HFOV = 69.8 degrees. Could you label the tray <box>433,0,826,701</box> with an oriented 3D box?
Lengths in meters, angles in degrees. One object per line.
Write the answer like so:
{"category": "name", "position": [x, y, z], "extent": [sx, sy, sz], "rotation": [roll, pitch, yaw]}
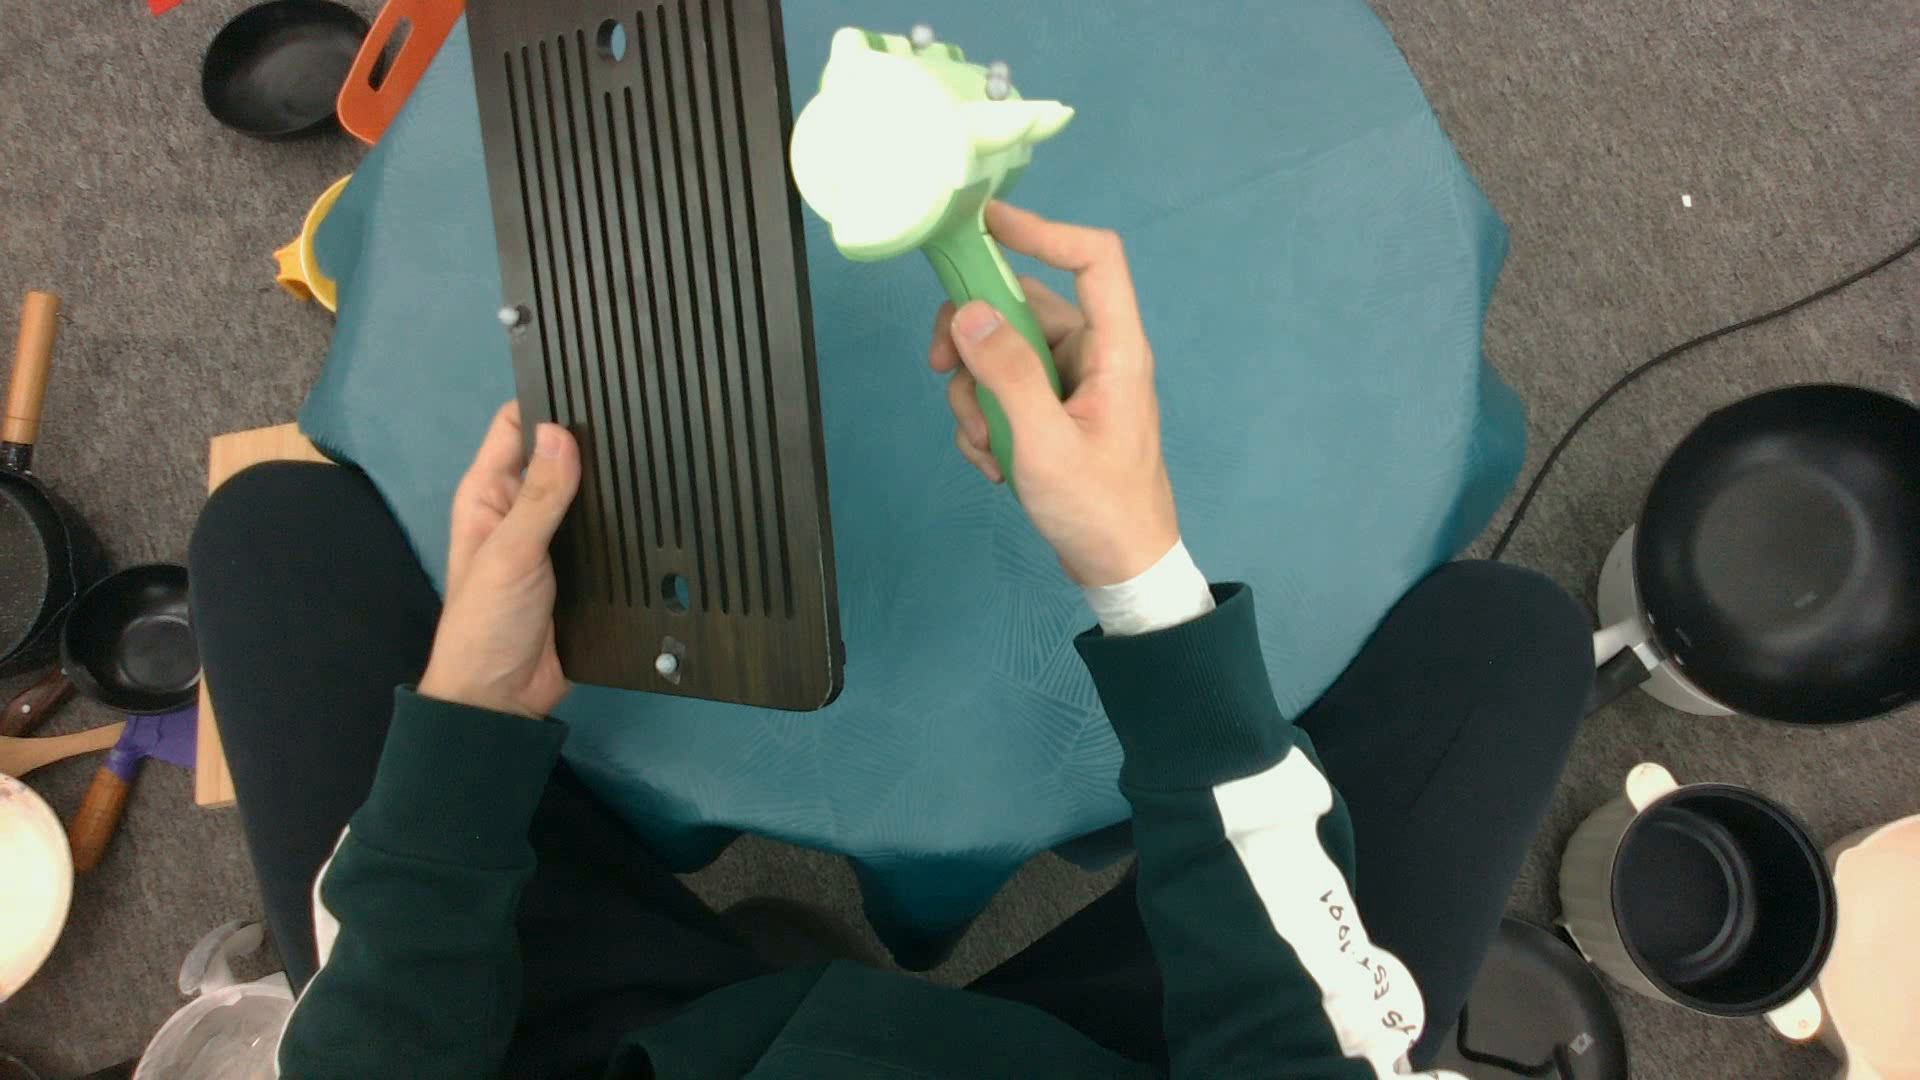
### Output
{"category": "tray", "position": [-0.133, -0.089, 0.554], "extent": [0.169, 0.019, 0.305], "rotation": [0, 100, 35]}

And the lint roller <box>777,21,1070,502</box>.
{"category": "lint roller", "position": [0.015, -0.106, 0.516], "extent": [0.082, 0.199, 0.183], "rotation": [-30, 101, 16]}
